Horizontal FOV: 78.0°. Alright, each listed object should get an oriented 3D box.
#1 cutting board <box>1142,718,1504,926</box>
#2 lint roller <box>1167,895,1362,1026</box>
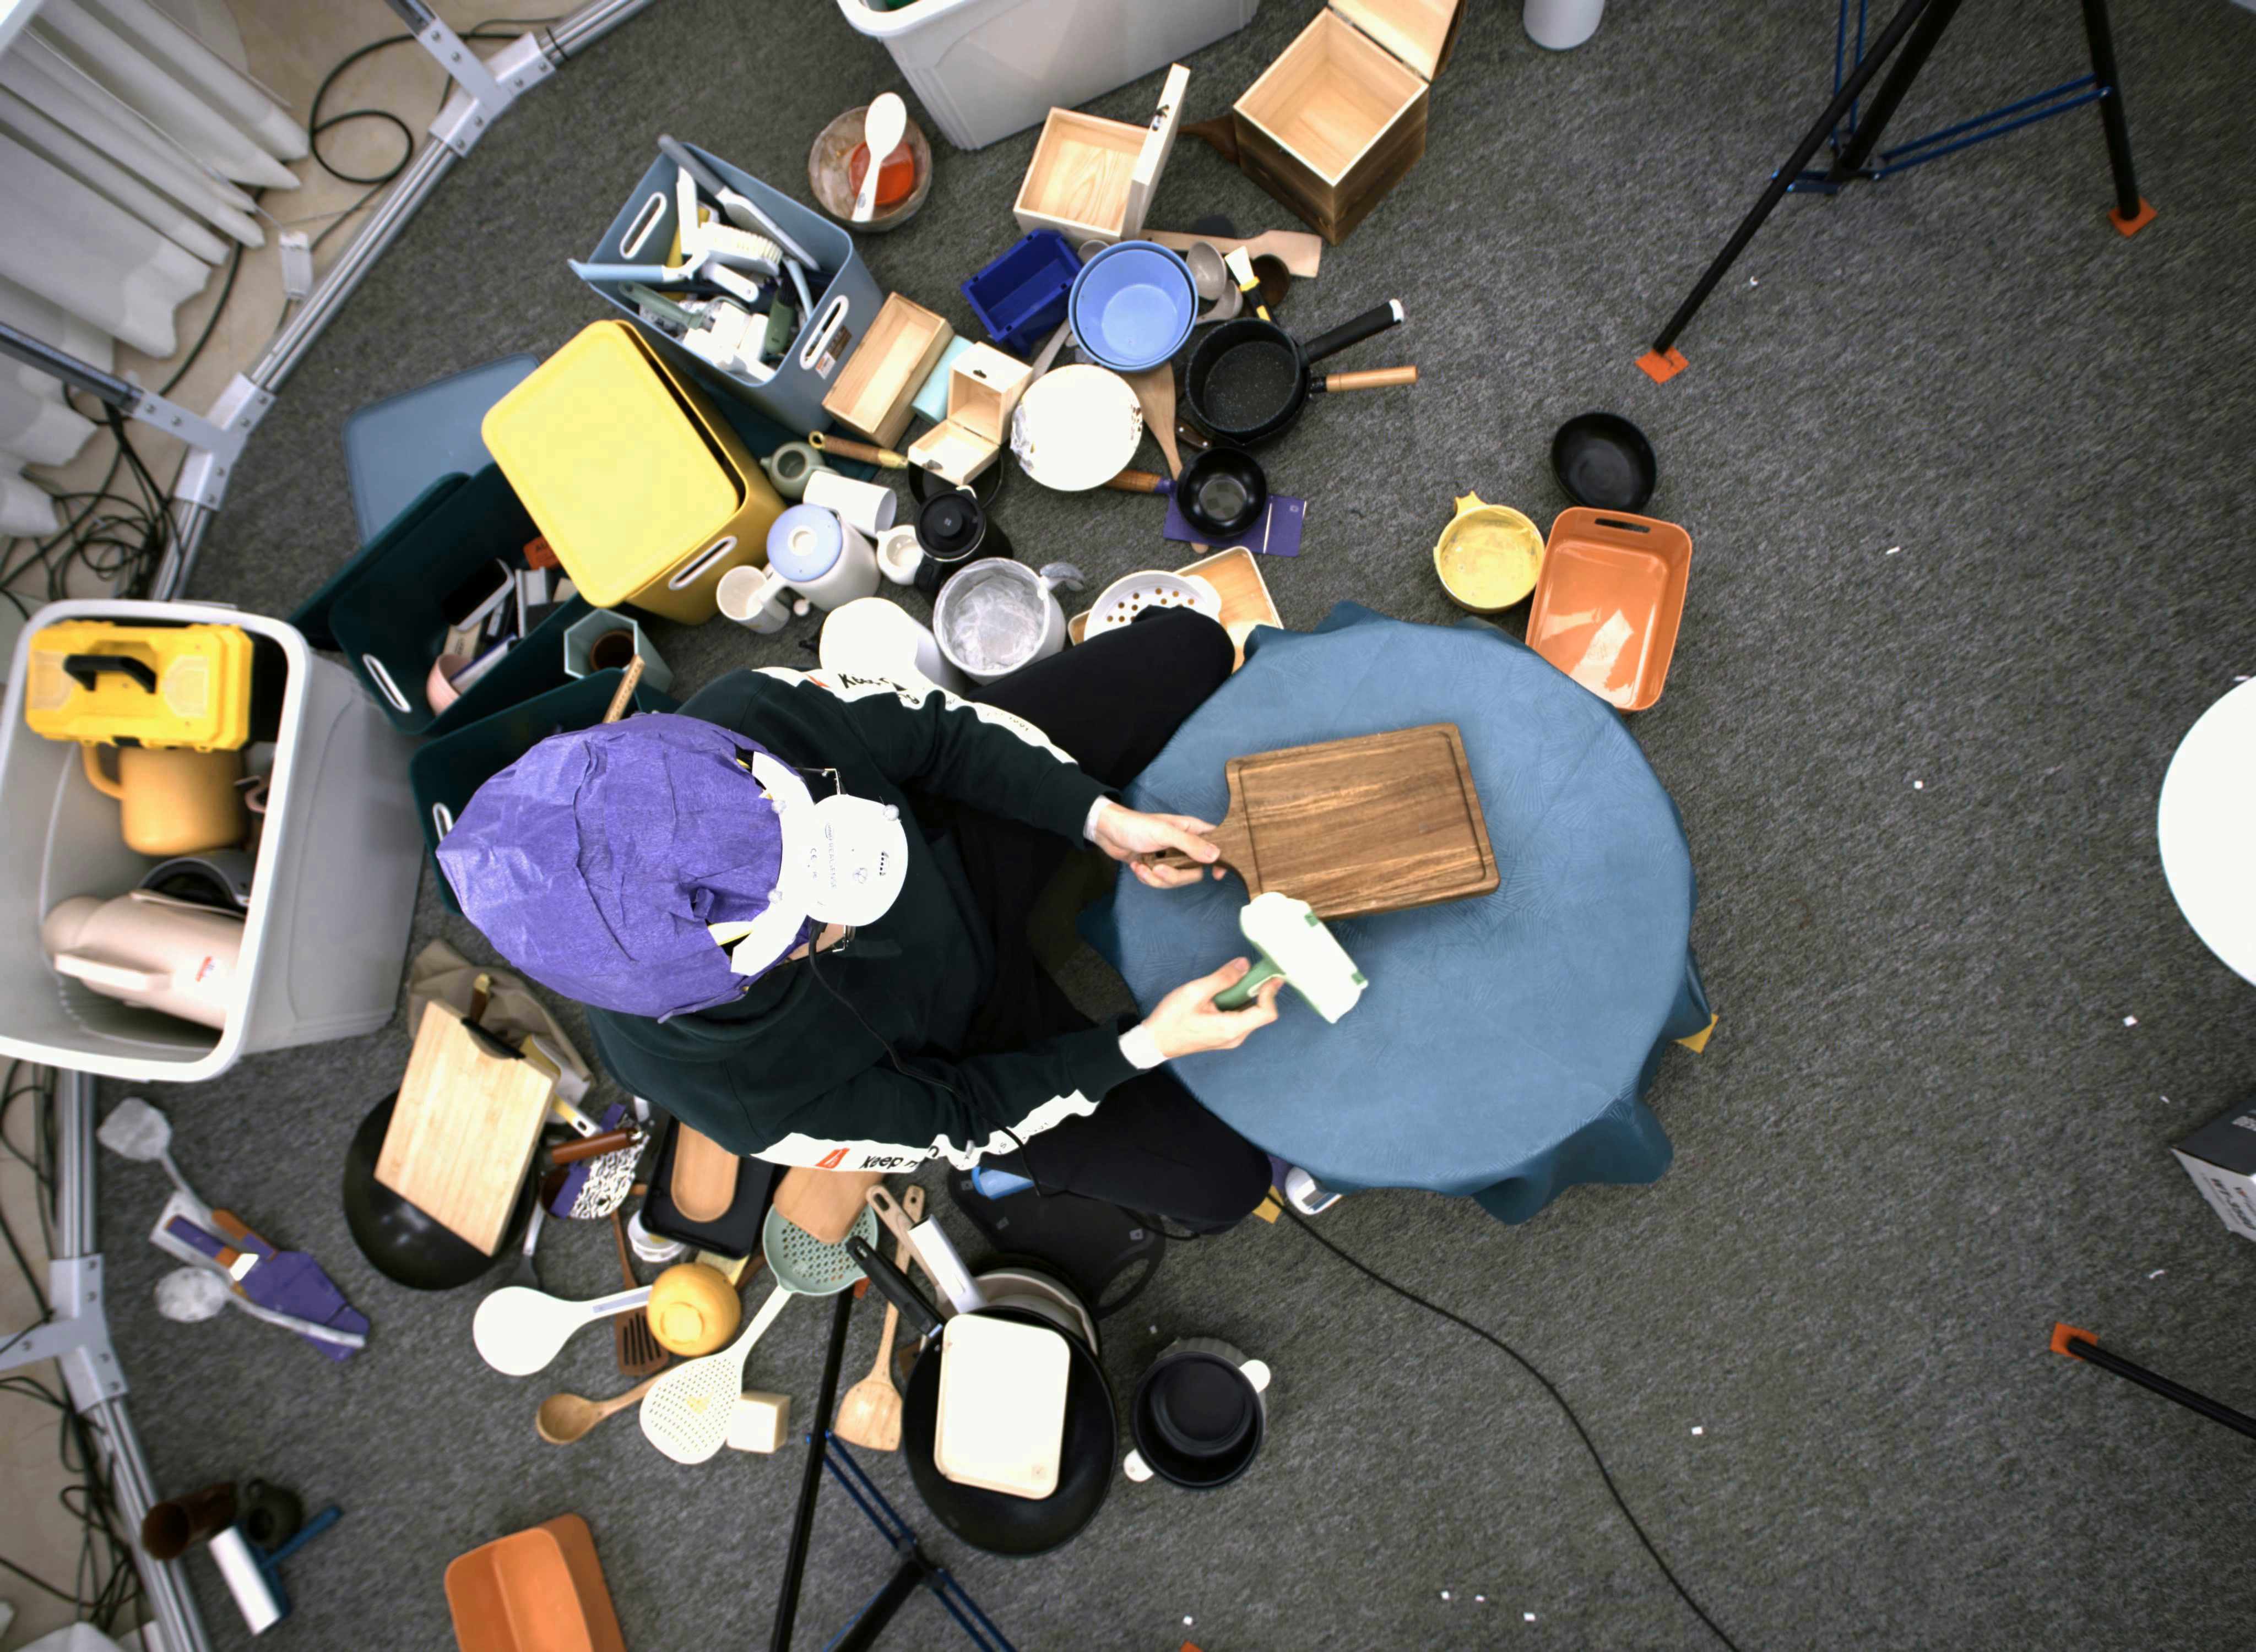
[{"bbox_3d":[0.188,0.005,1.415,0.353,0.023,0.197,-11,66,3],"label":"cutting board"},{"bbox_3d":[0.128,0.167,1.379,0.184,0.201,0.080,-34,50,8],"label":"lint roller"}]
